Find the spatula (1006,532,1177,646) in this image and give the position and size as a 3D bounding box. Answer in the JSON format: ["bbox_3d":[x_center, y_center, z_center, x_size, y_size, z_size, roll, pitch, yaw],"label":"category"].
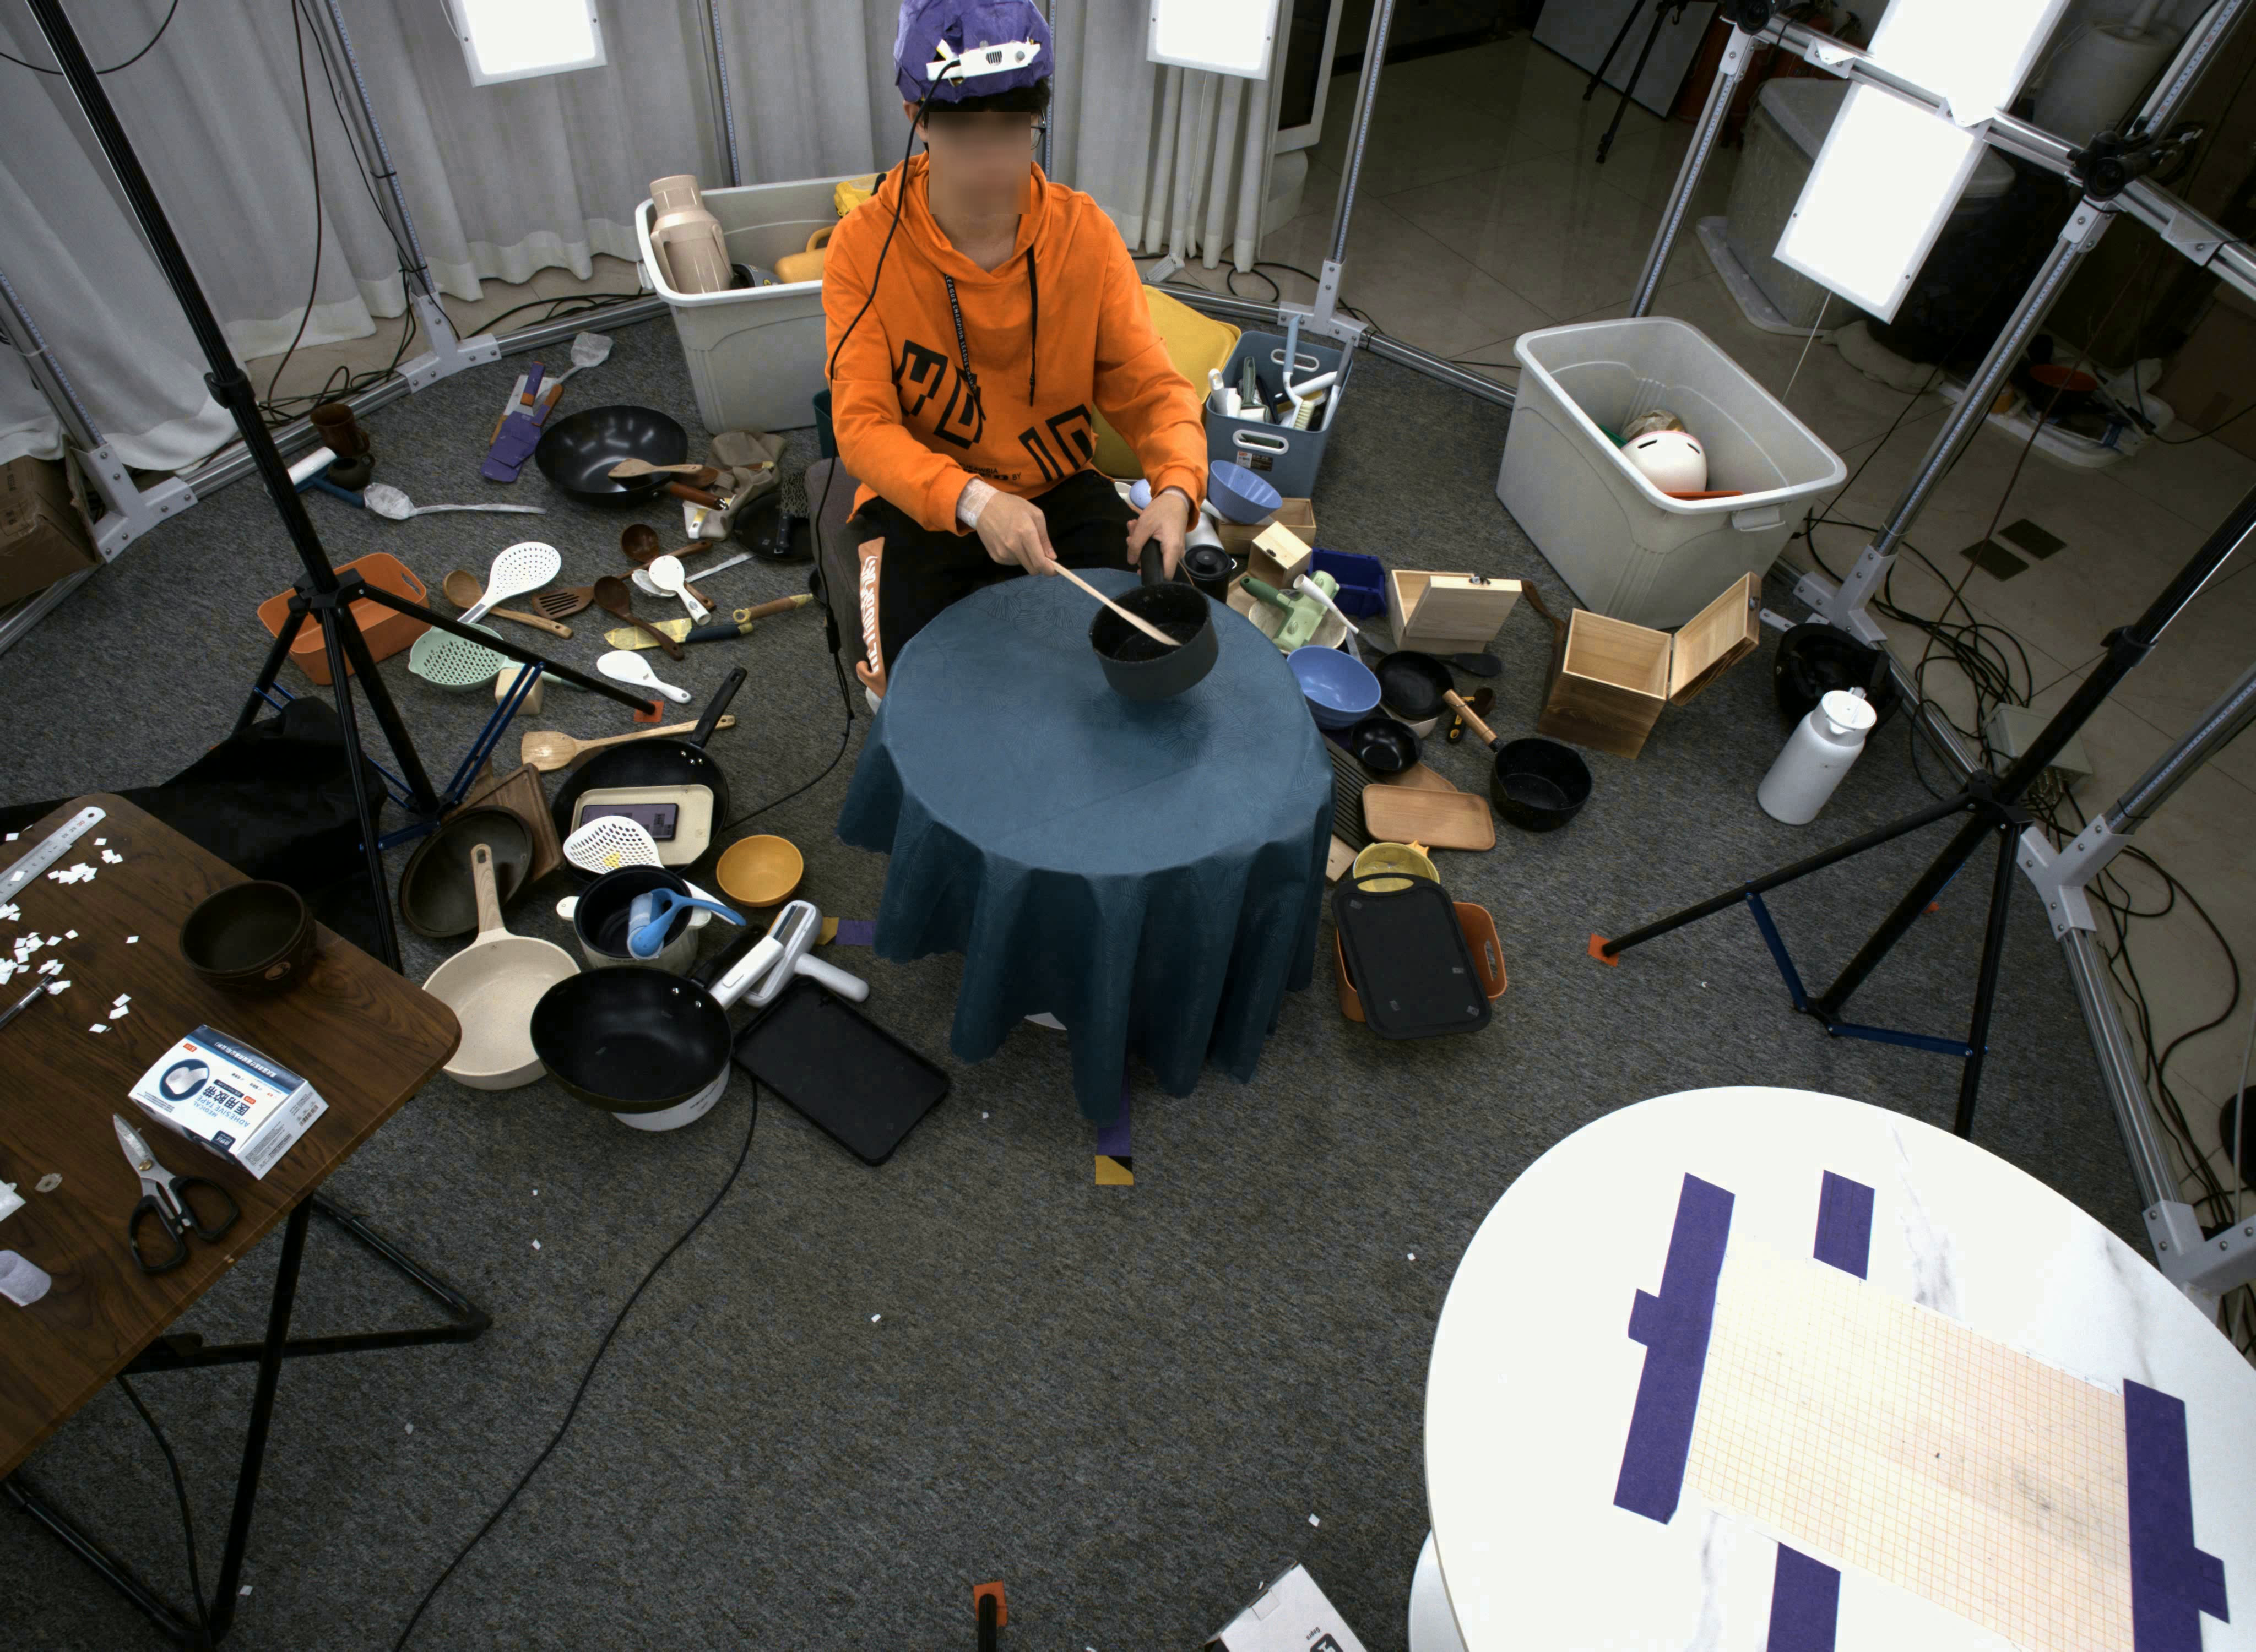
[{"bbox_3d":[-0.053,-0.327,1.780,0.295,0.010,0.072,36,13,12],"label":"spatula"}]

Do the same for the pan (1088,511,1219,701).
[{"bbox_3d":[0.041,-0.314,1.815,0.172,0.084,0.337,-8,46,13],"label":"pan"}]
